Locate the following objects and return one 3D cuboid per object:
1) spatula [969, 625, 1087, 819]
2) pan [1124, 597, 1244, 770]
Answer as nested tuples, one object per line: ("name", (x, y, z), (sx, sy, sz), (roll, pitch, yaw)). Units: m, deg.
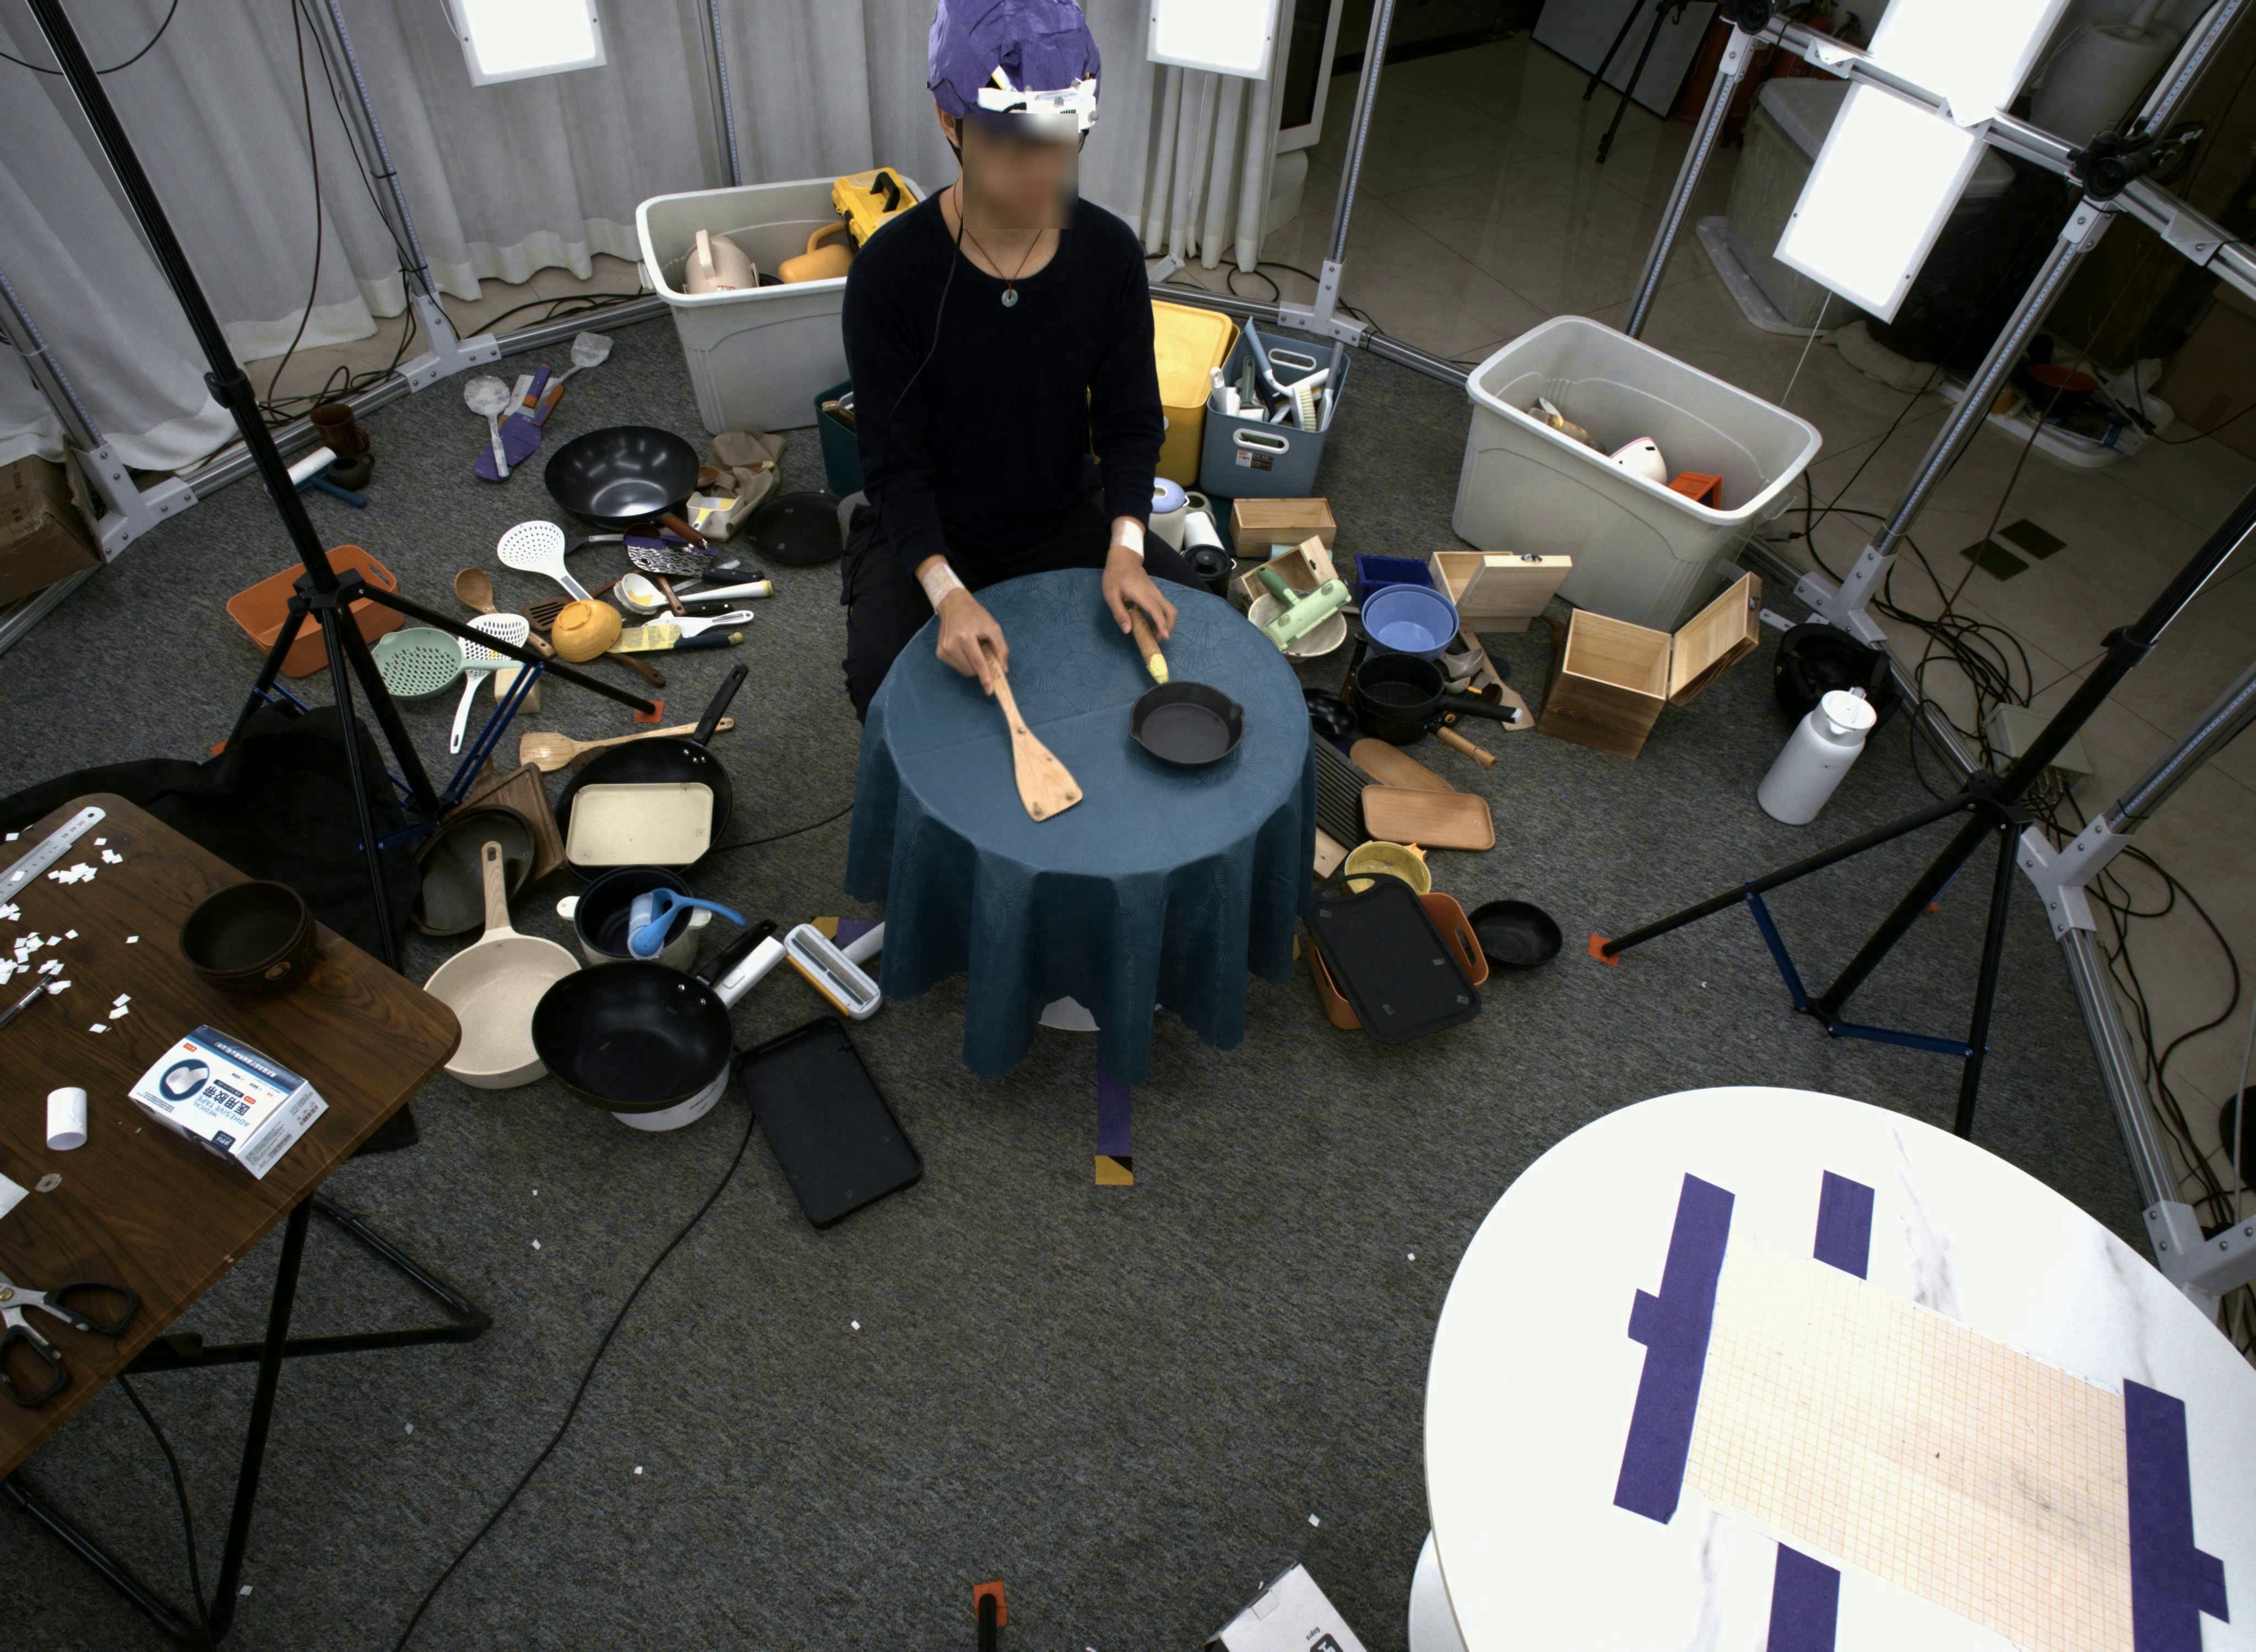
("spatula", (-0.149, -0.150, 1.747), (0.080, 0.016, 0.334), (-16, 63, -20))
("pan", (0.055, -0.204, 1.817), (0.169, 0.048, 0.332), (-12, 52, -14))
